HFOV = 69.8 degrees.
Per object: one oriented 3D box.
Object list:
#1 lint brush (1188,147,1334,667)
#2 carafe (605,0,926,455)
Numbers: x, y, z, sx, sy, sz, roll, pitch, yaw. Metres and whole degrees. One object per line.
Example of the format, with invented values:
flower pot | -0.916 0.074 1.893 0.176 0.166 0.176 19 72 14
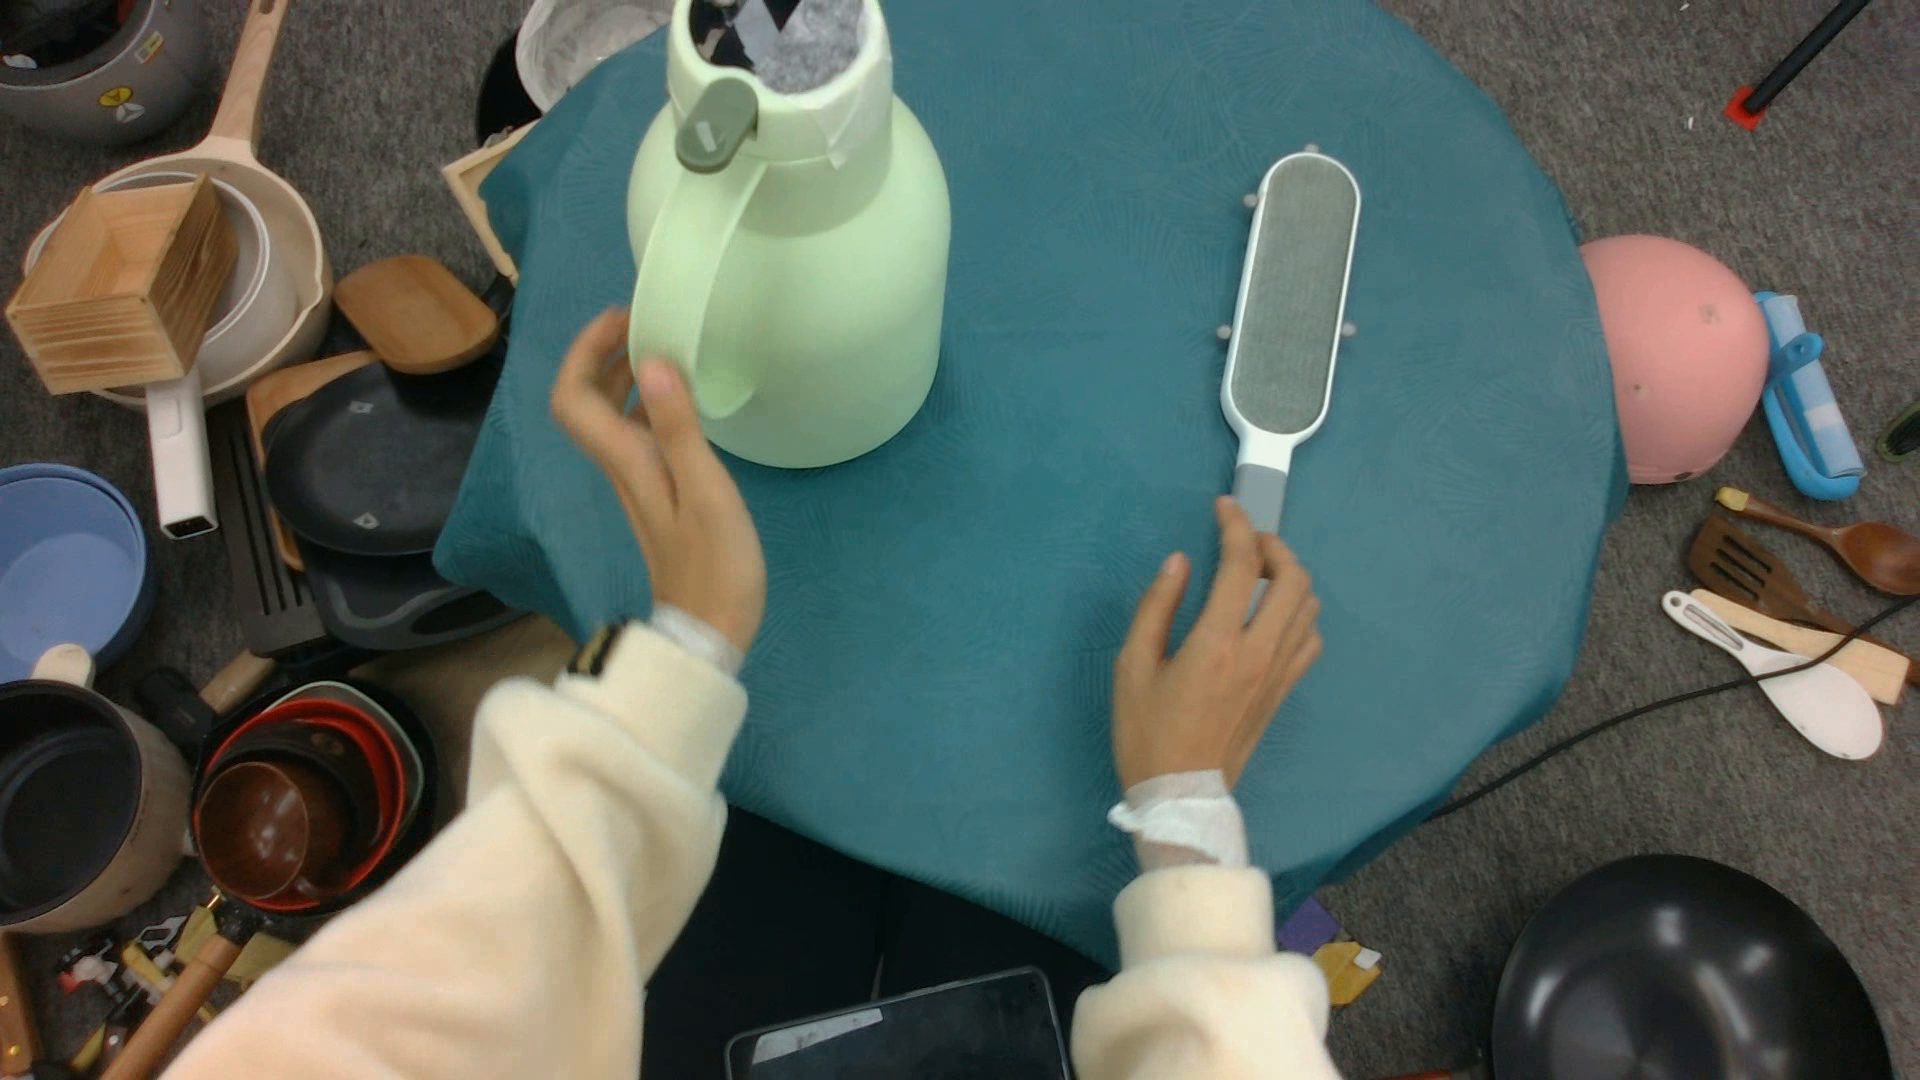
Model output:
lint brush | 0.155 -0.080 0.734 0.060 0.021 0.310 13 70 -2
carafe | -0.091 -0.133 0.609 0.144 0.256 0.187 24 73 2
